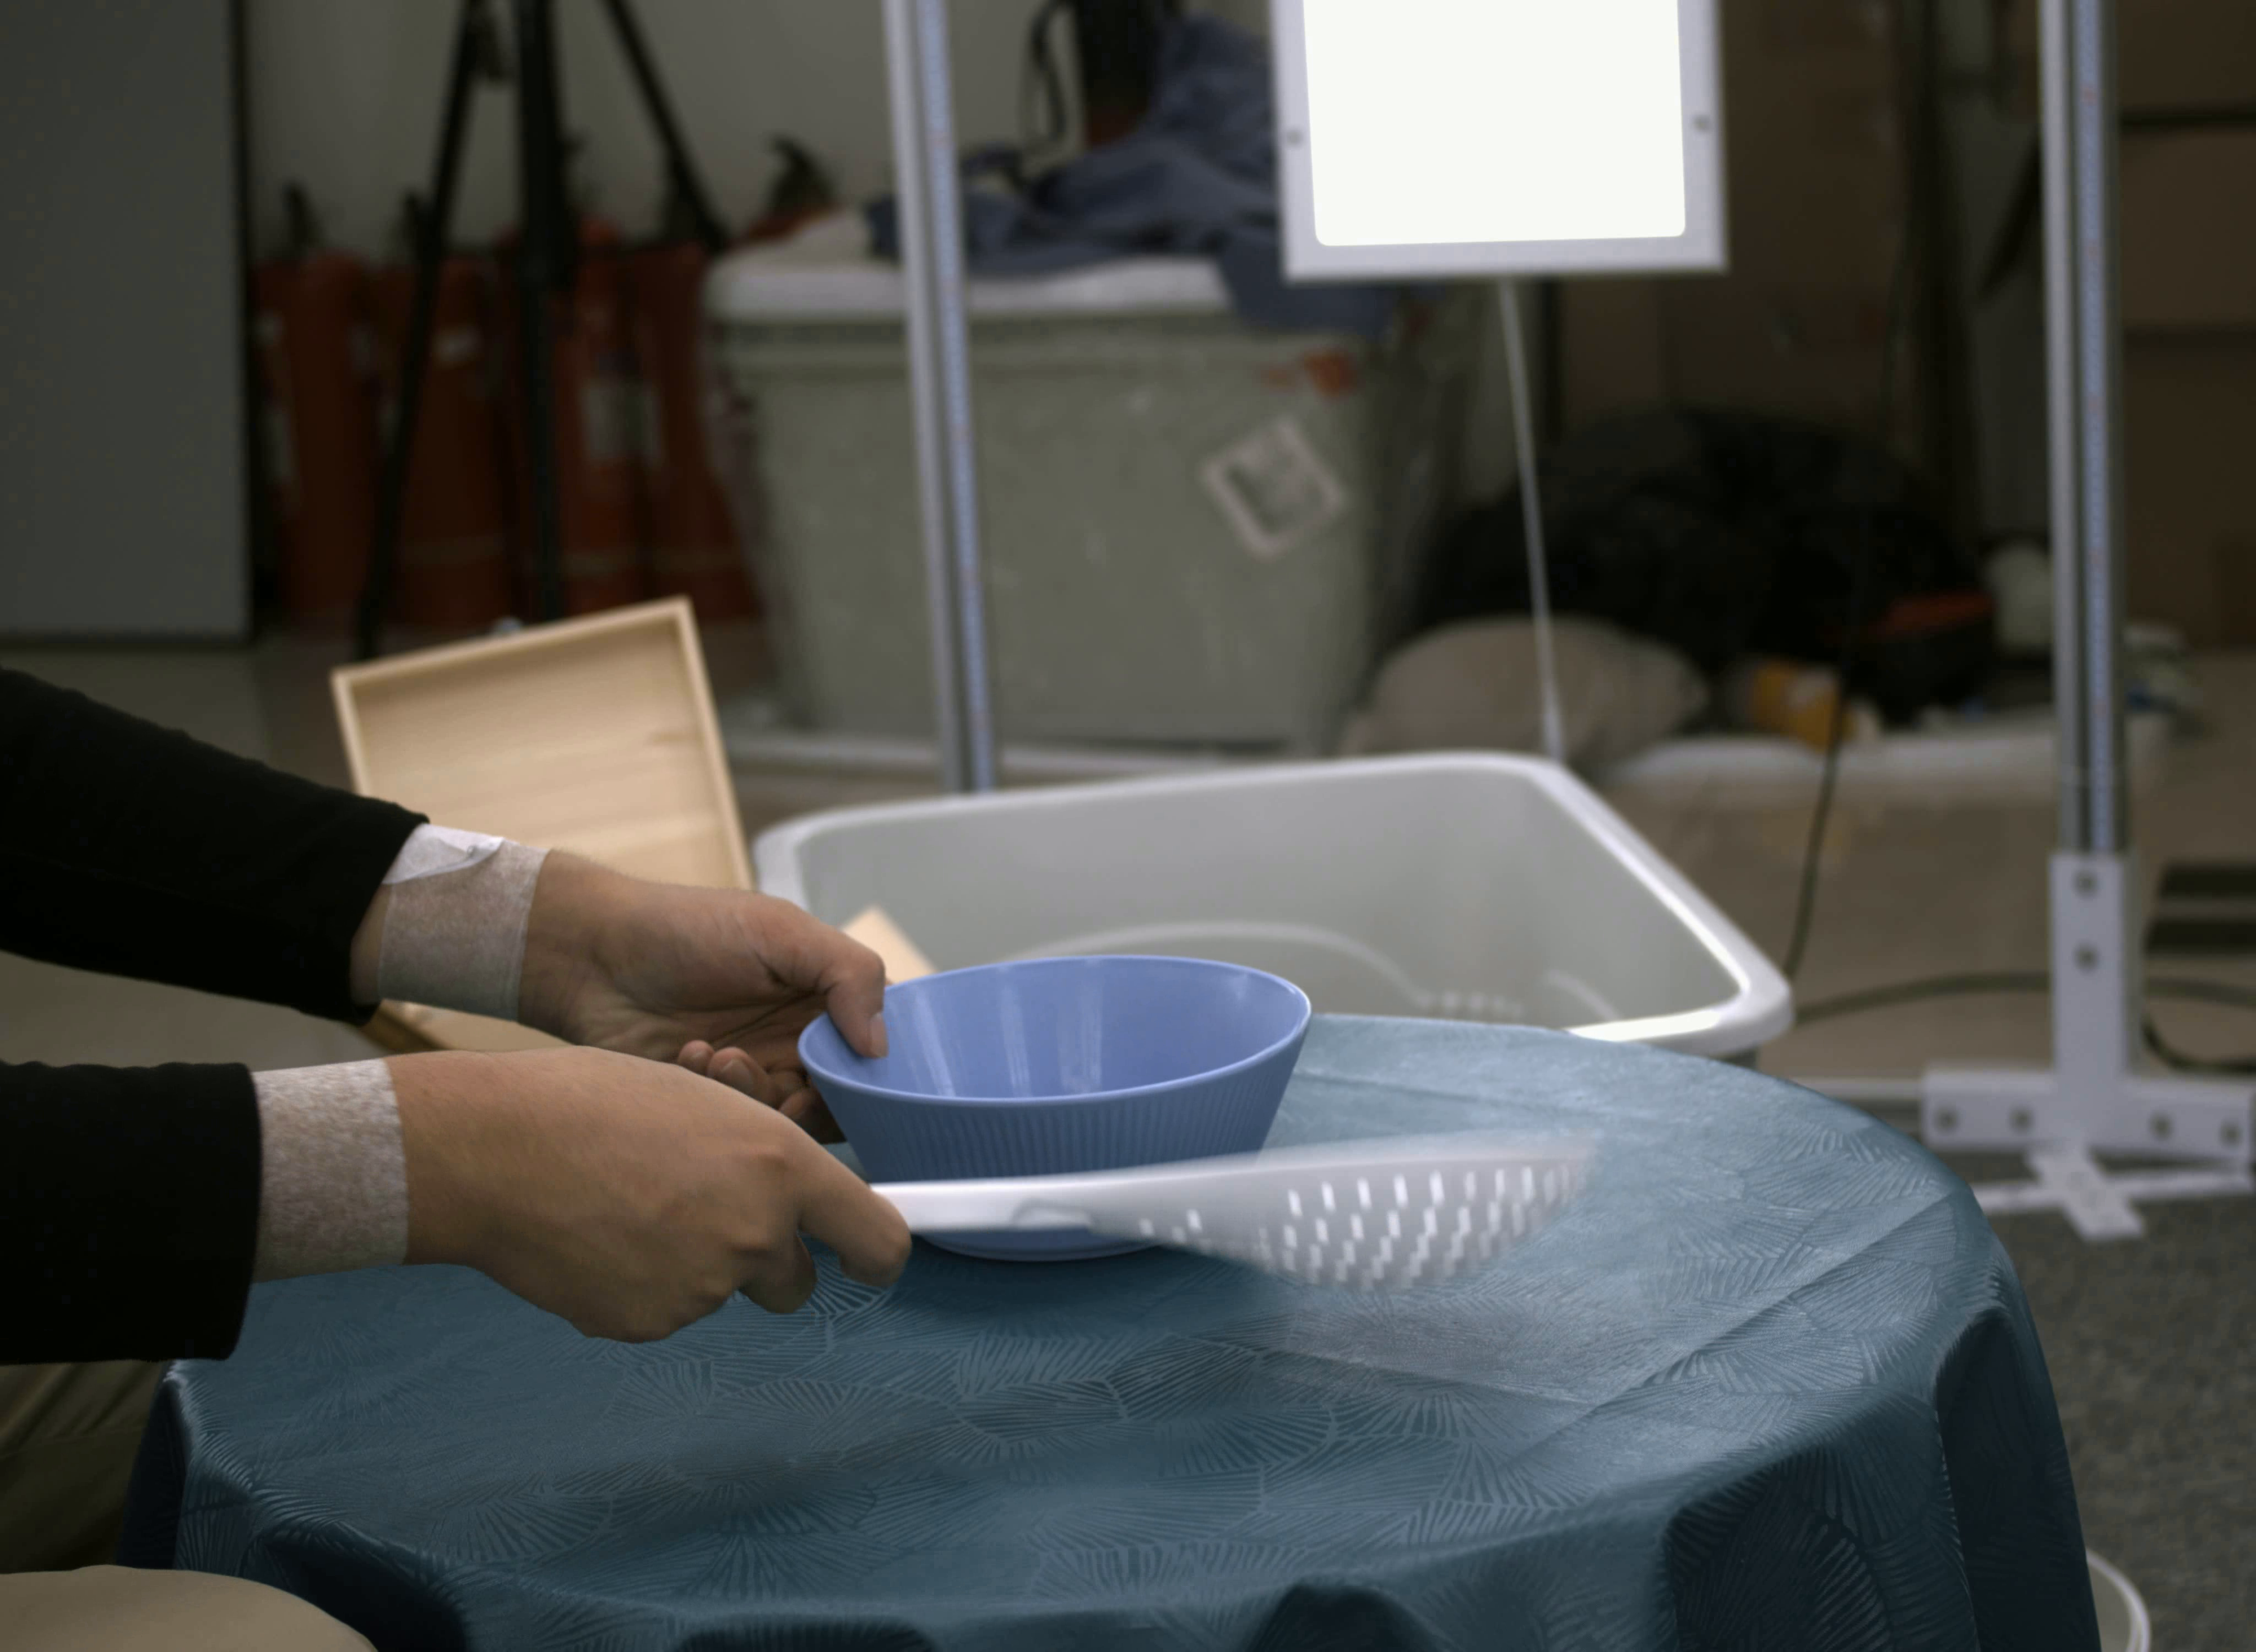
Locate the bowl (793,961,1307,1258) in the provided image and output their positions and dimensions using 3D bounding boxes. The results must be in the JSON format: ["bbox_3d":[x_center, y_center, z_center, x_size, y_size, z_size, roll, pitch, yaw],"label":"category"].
[{"bbox_3d":[-0.024,0.098,1.873,0.175,0.070,0.176,-6,13,0],"label":"bowl"}]

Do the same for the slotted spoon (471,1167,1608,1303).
[{"bbox_3d":[-0.024,0.116,1.674,0.346,0.046,0.137,4,-5,-10],"label":"slotted spoon"}]
